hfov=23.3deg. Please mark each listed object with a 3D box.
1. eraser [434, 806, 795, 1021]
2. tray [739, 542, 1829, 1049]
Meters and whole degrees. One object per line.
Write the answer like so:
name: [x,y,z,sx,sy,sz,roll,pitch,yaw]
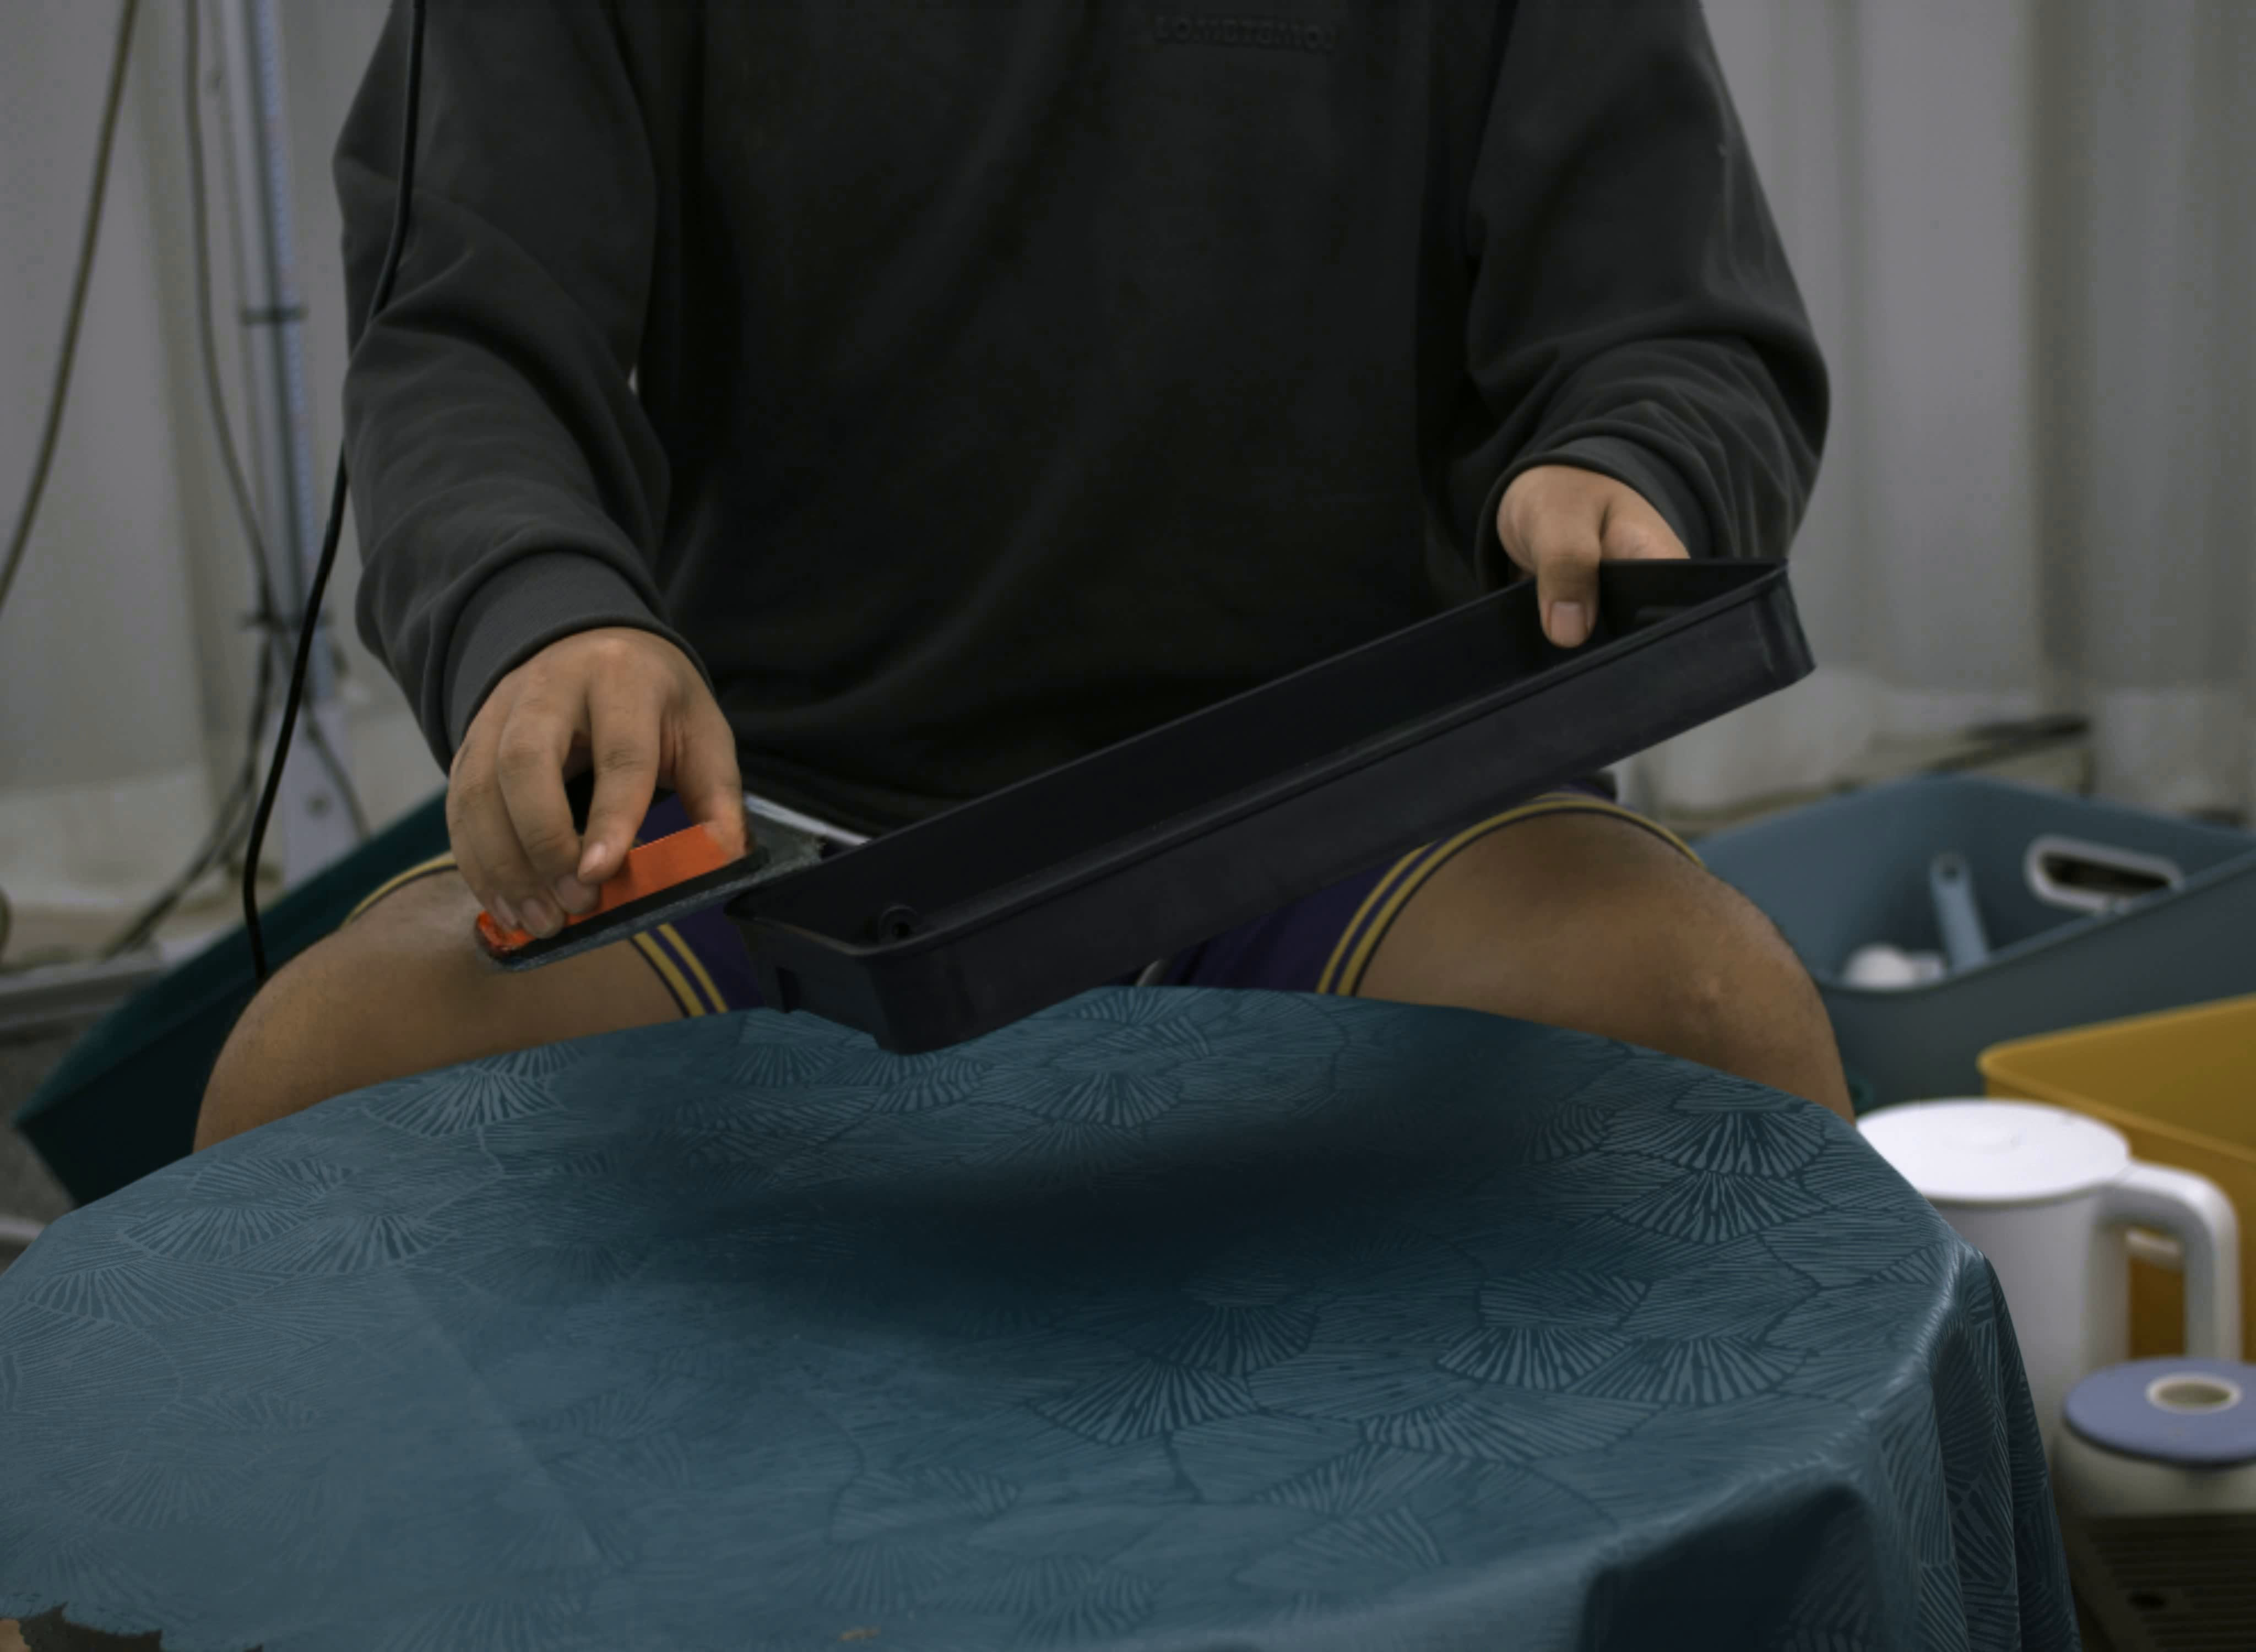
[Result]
eraser: [-0.159,0.027,1.698,0.107,0.023,0.059,-25,0,22]
tray: [0.047,-0.013,1.685,0.317,0.037,0.185,-24,10,-18]
